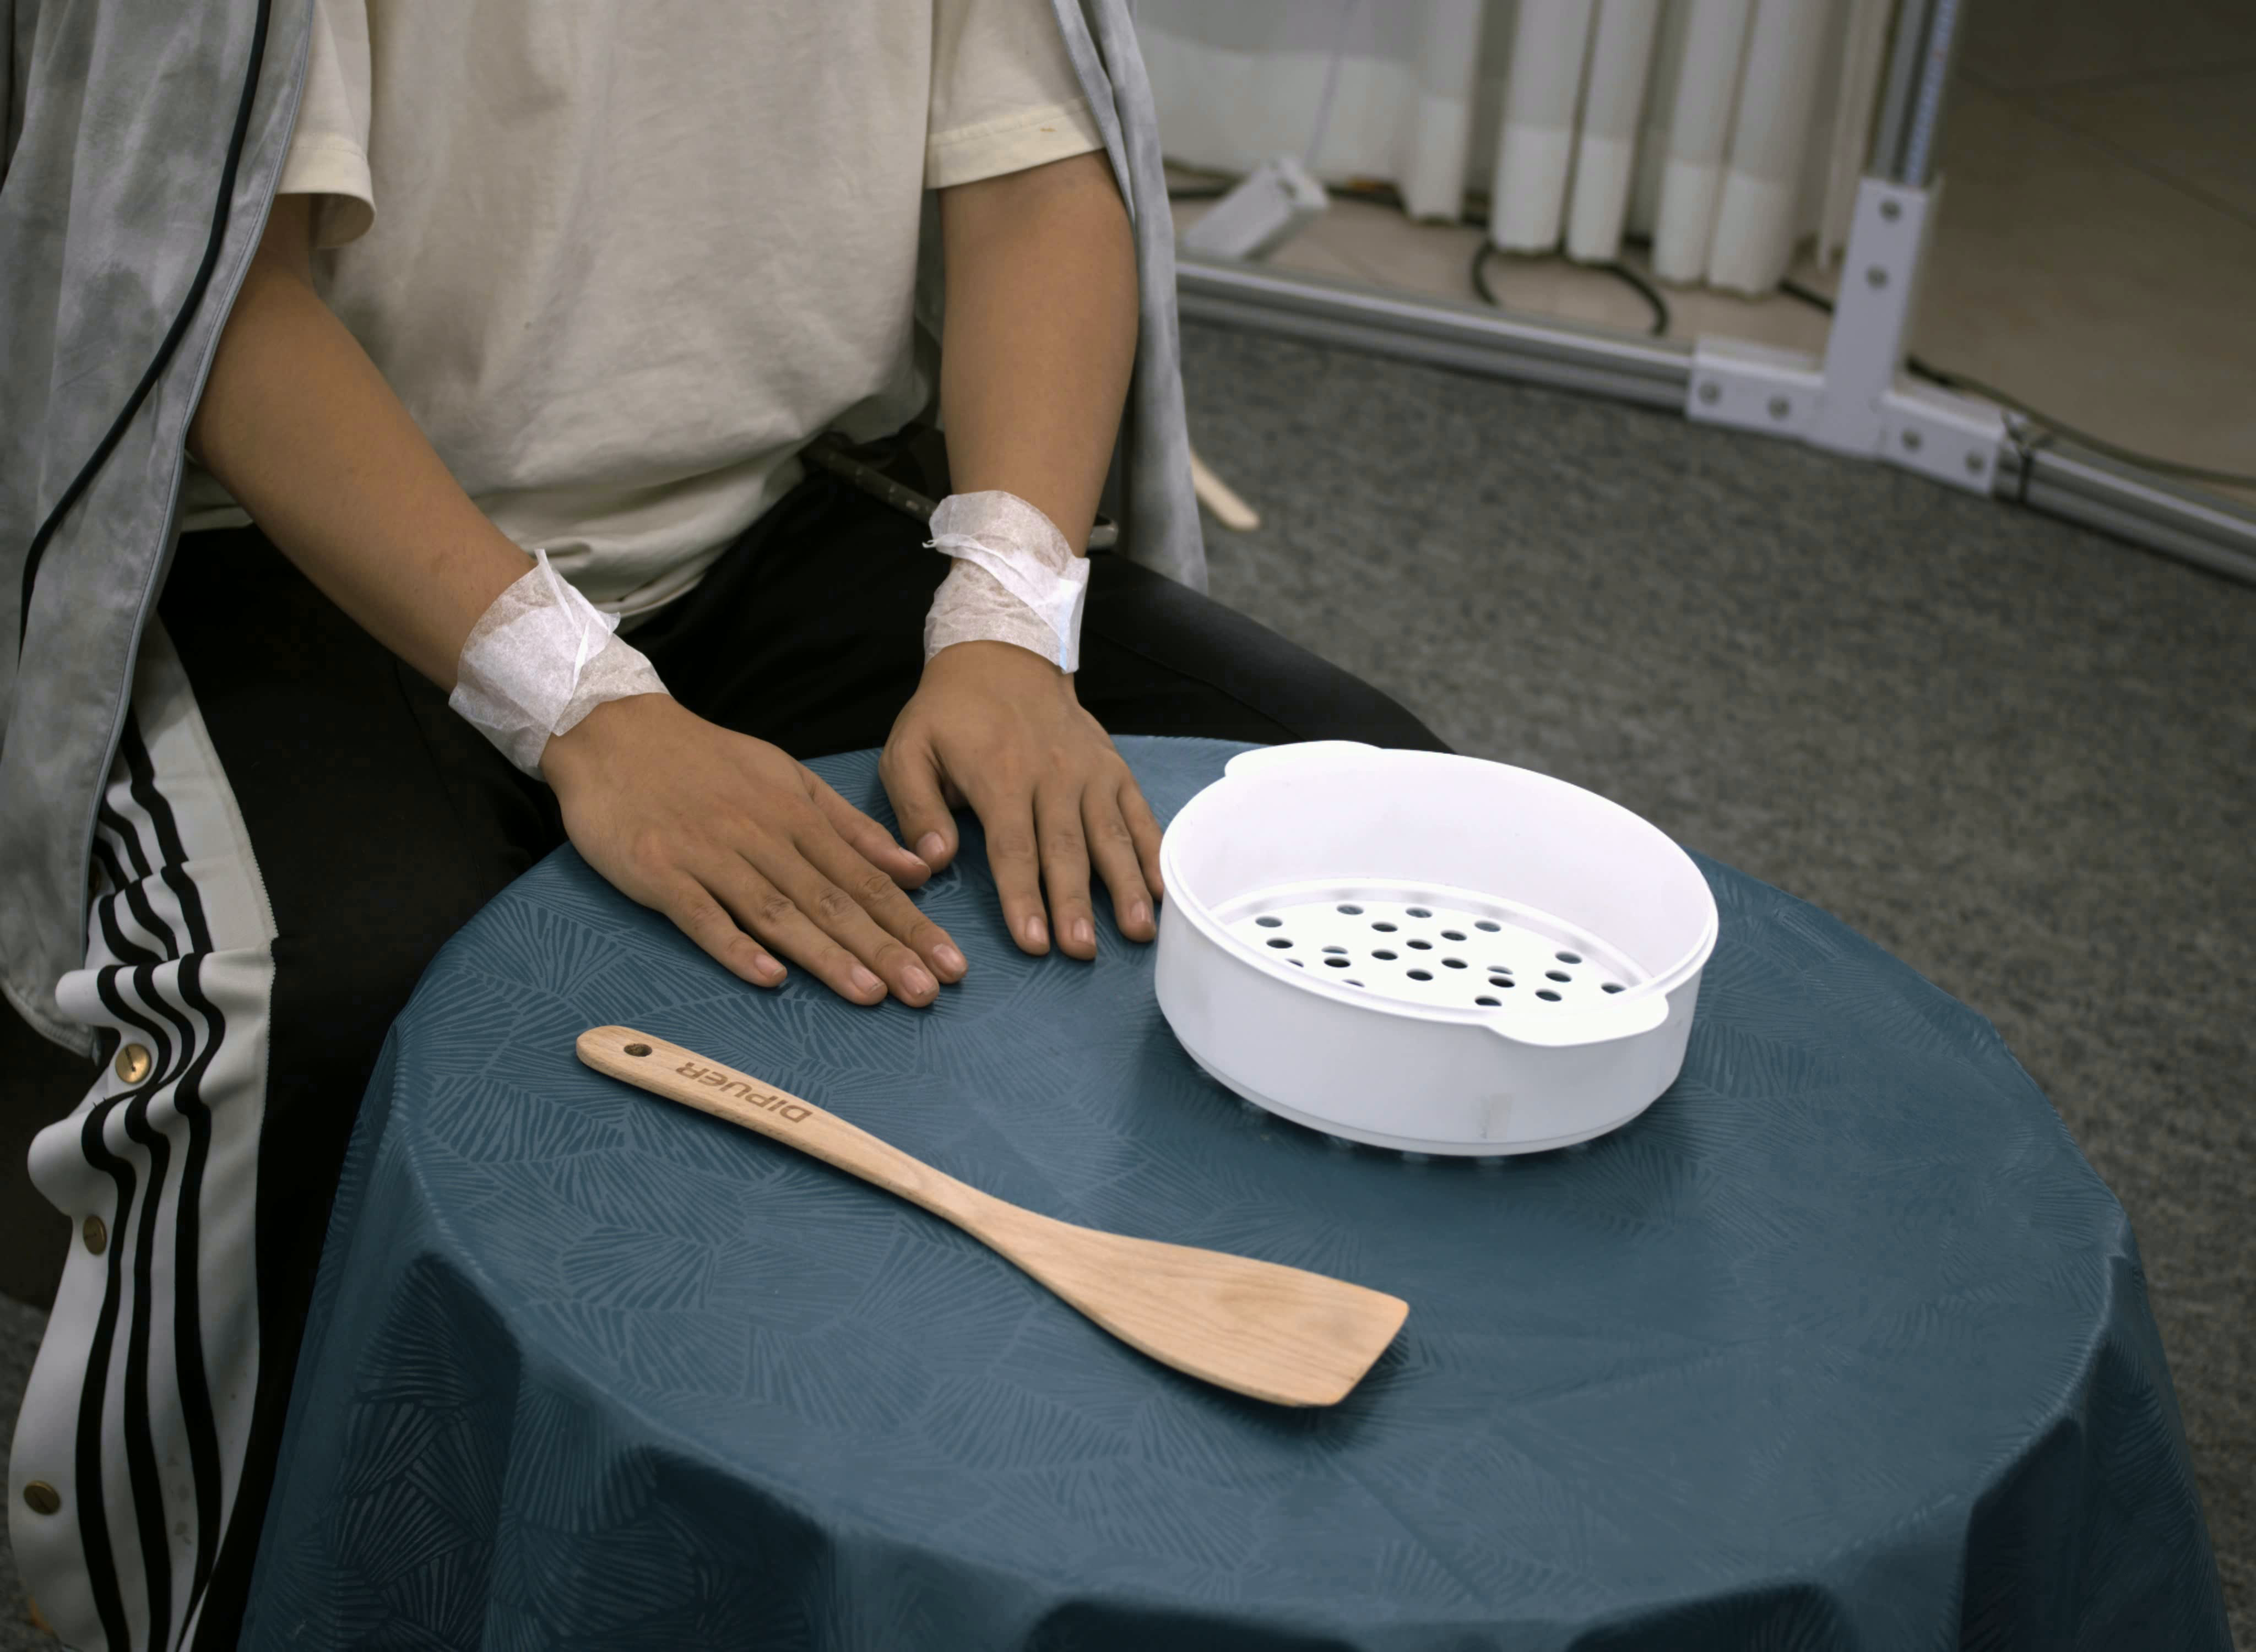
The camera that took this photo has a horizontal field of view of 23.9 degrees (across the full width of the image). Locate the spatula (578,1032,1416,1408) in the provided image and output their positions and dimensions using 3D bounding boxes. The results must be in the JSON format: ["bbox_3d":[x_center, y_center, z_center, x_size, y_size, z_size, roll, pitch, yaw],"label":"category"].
[{"bbox_3d":[-0.051,0.124,1.773,0.329,0.016,0.080,21,29,27],"label":"spatula"}]

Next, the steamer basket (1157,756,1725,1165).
[{"bbox_3d":[0.109,0.049,1.904,0.200,0.069,0.232,-6,28,-26],"label":"steamer basket"}]
